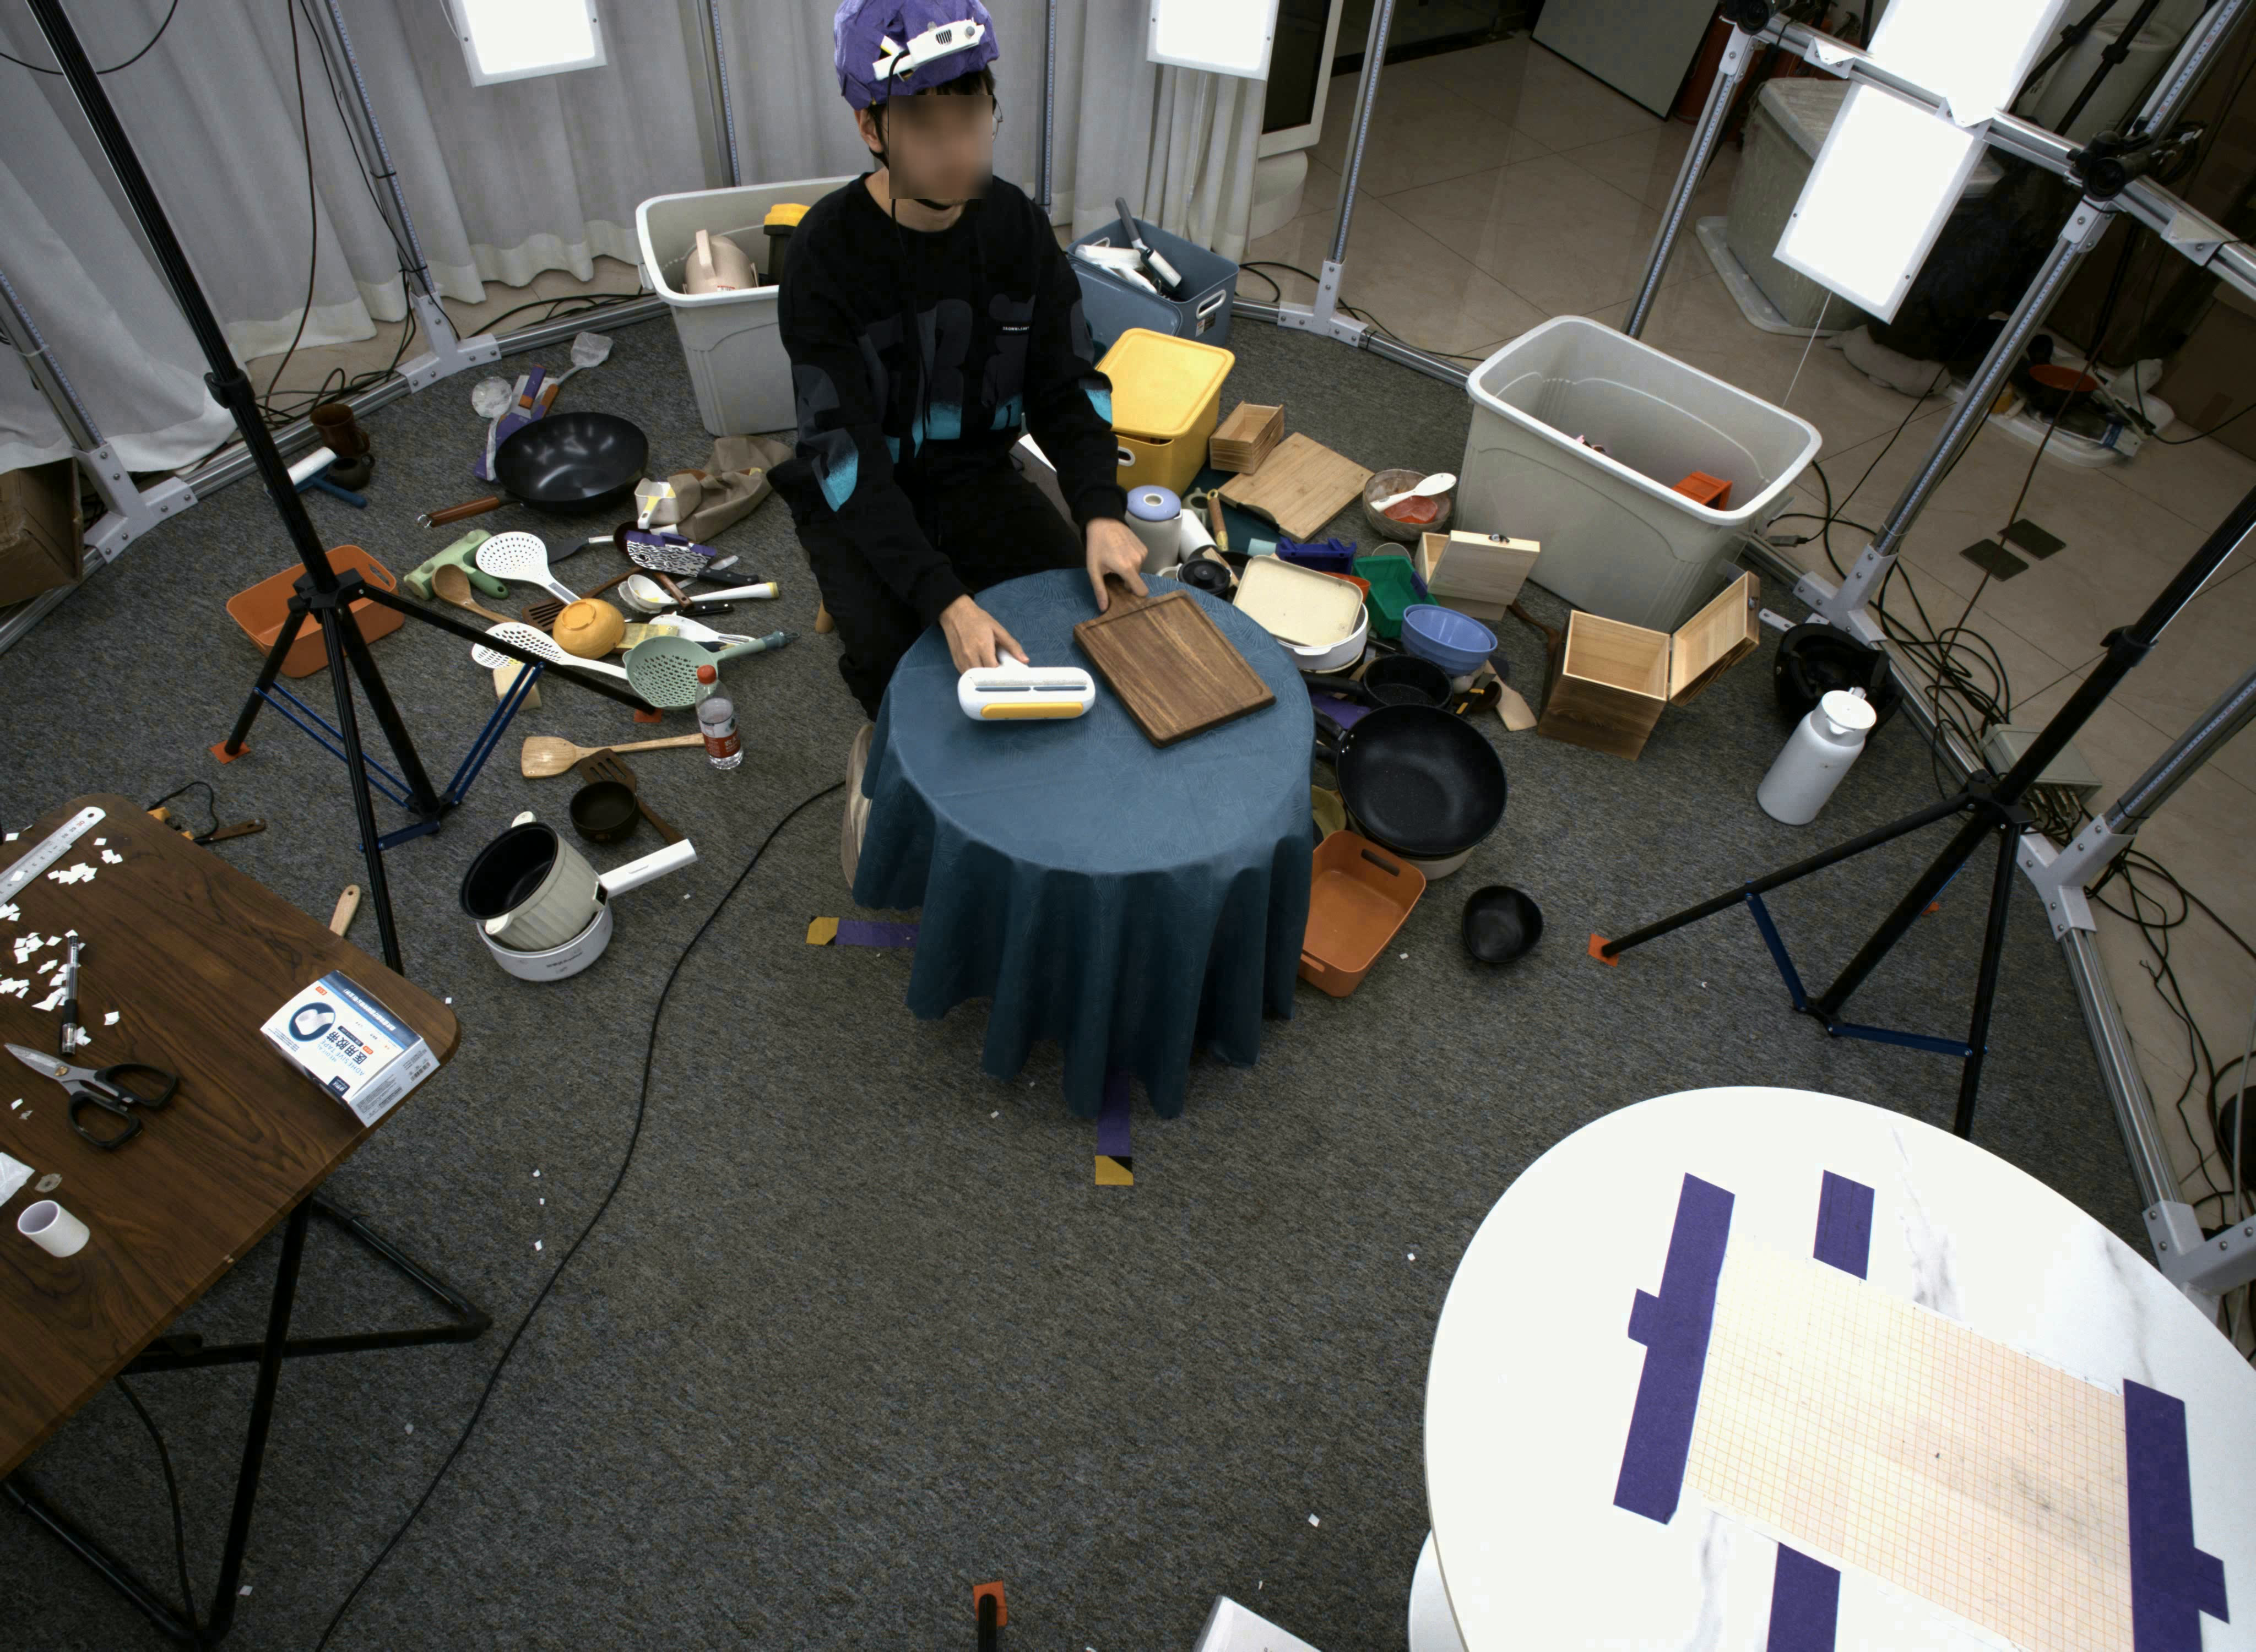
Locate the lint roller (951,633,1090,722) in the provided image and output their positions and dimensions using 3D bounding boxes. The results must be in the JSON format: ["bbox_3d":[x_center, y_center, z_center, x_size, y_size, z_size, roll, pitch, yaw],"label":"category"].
[{"bbox_3d":[-0.161,-0.220,1.804,0.192,0.072,0.197,-3,48,-16],"label":"lint roller"}]

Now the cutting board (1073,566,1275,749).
[{"bbox_3d":[0.040,-0.268,1.882,0.201,0.022,0.359,-22,56,-20],"label":"cutting board"}]
